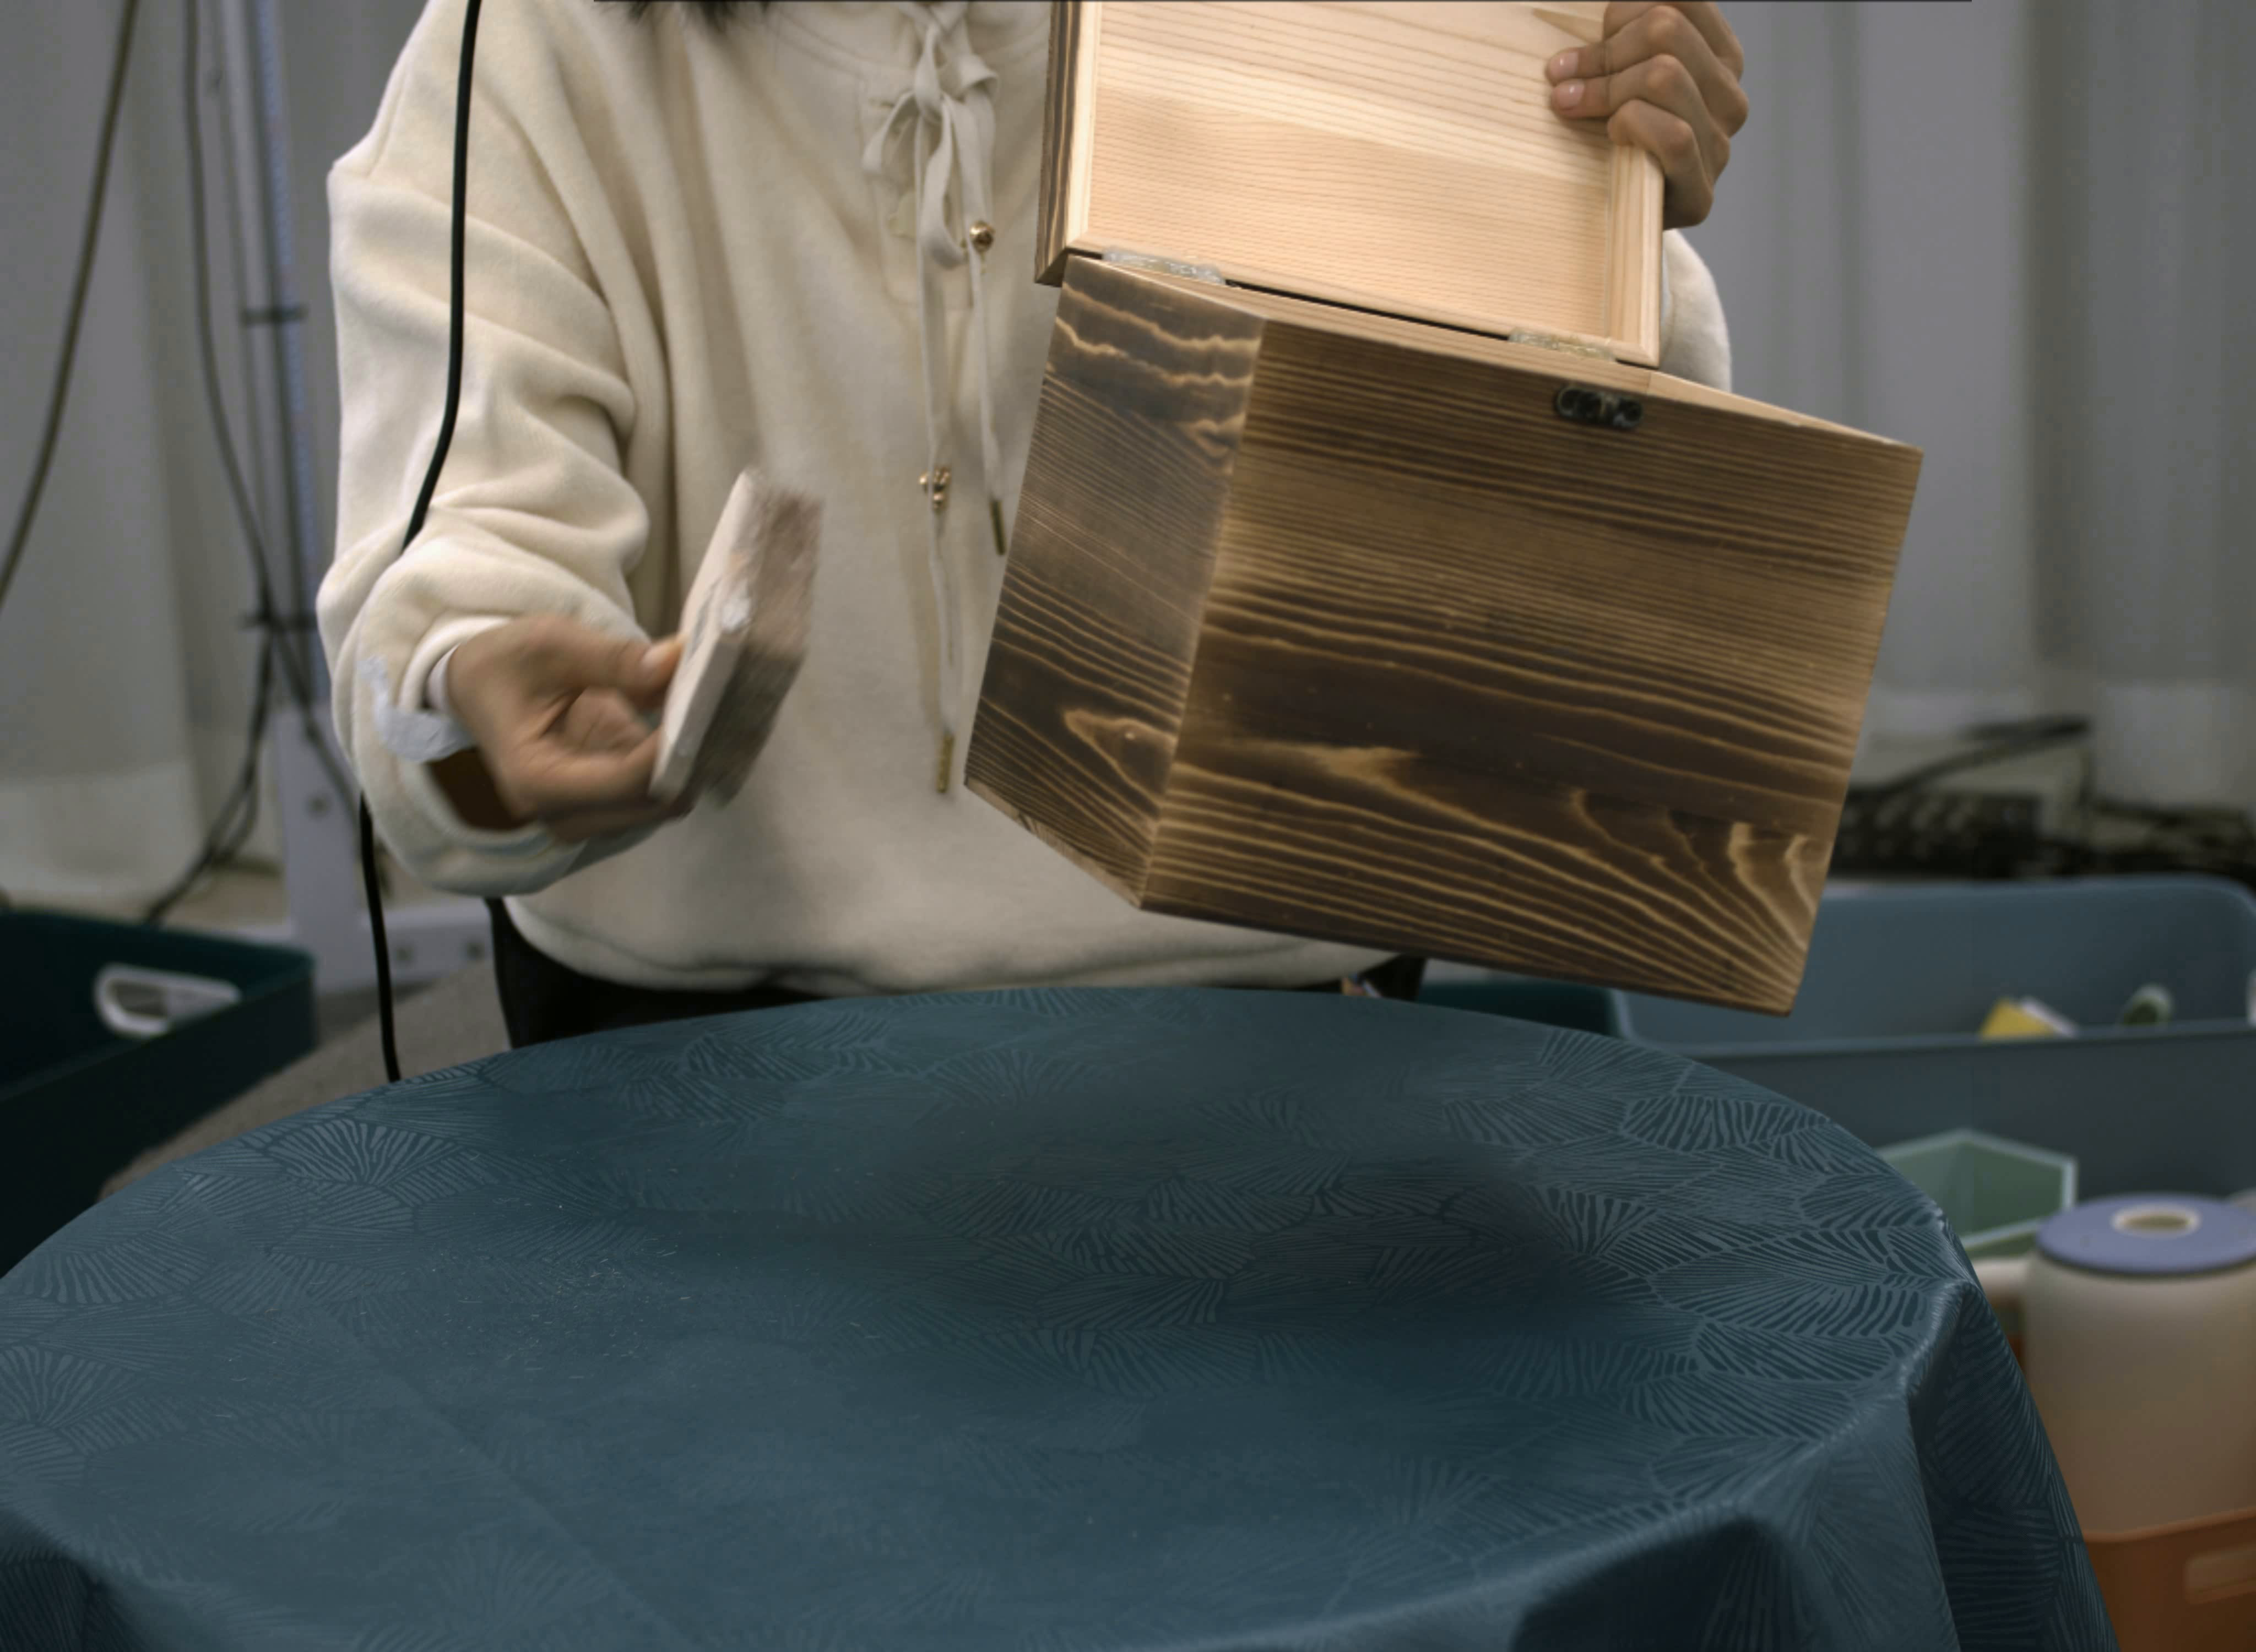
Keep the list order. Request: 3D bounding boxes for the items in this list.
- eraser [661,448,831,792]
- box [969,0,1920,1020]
[{"bbox_3d":[-0.117,-0.063,1.687,0.029,0.057,0.141,21,23,-9],"label":"eraser"},{"bbox_3d":[0.090,-0.164,1.661,0.207,0.375,0.324,9,8,-18],"label":"box"}]
